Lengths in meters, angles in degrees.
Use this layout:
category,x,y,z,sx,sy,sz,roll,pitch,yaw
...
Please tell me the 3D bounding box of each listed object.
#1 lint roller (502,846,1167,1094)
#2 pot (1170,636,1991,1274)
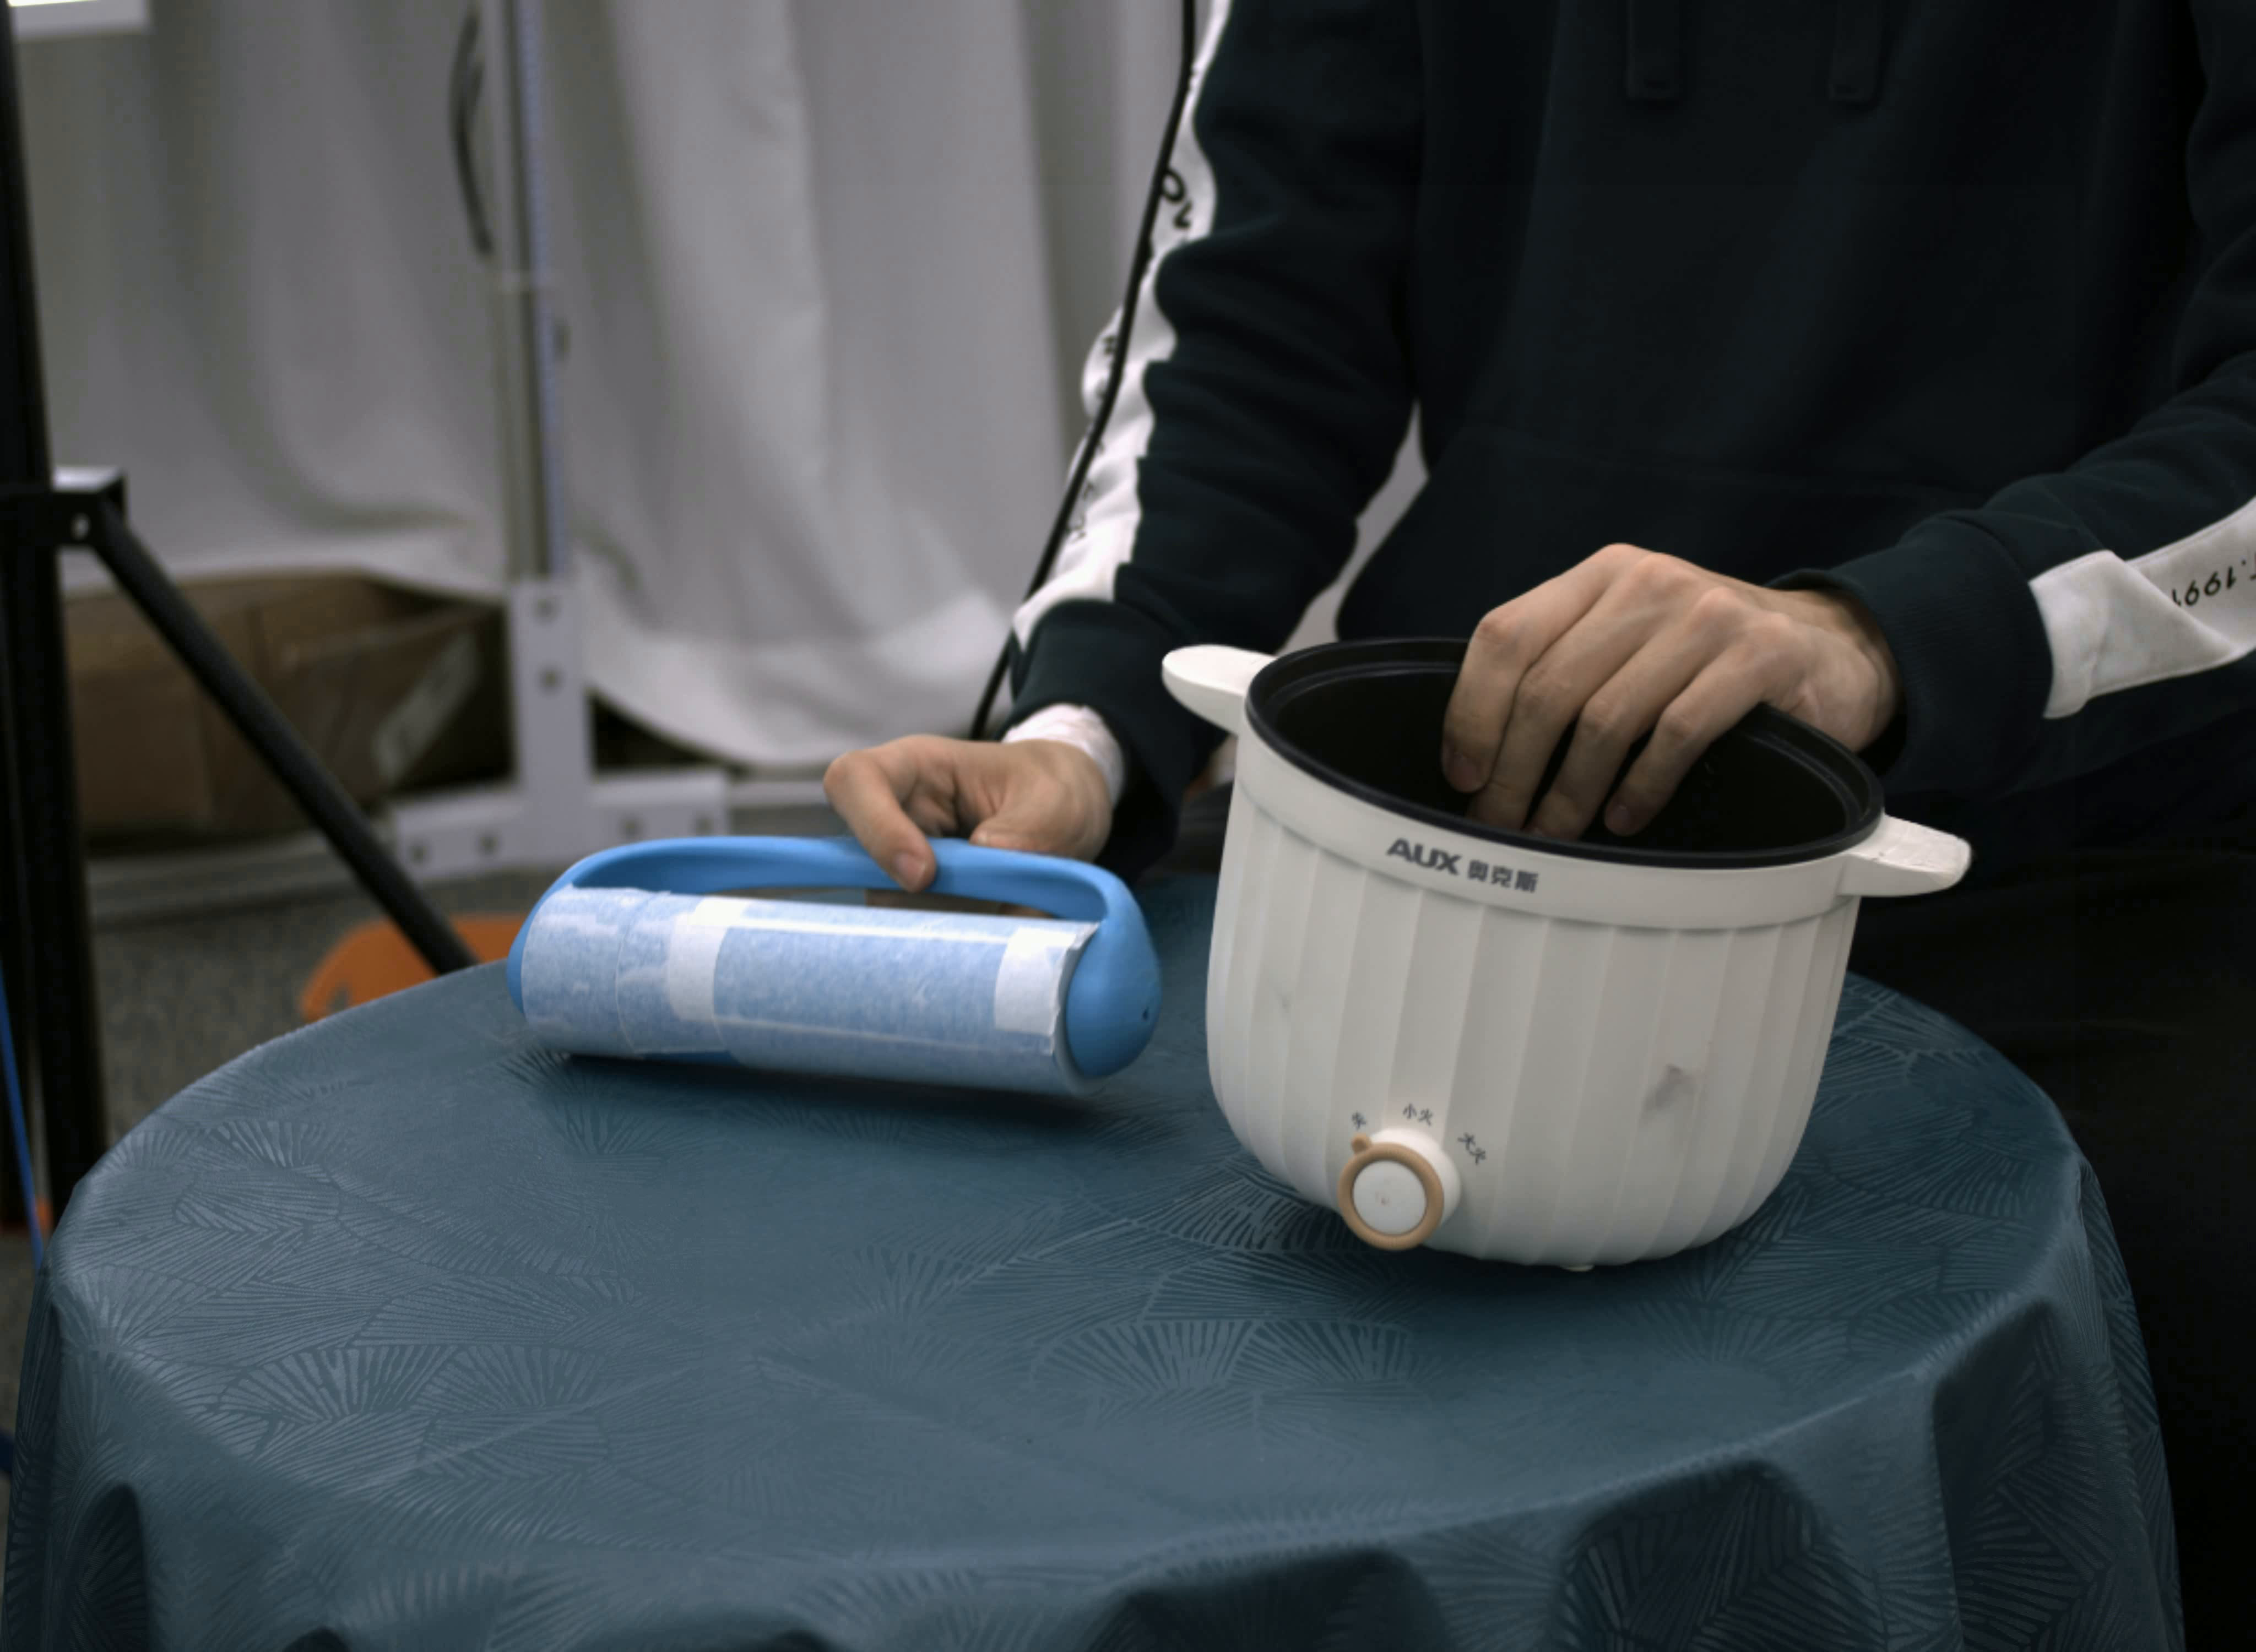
category,x,y,z,sx,sy,sz,roll,pitch,yaw
lint roller,-0.071,0.036,1.707,0.232,0.068,0.177,0,14,26
pot,0.113,0.040,1.494,0.243,0.143,0.188,14,16,19
